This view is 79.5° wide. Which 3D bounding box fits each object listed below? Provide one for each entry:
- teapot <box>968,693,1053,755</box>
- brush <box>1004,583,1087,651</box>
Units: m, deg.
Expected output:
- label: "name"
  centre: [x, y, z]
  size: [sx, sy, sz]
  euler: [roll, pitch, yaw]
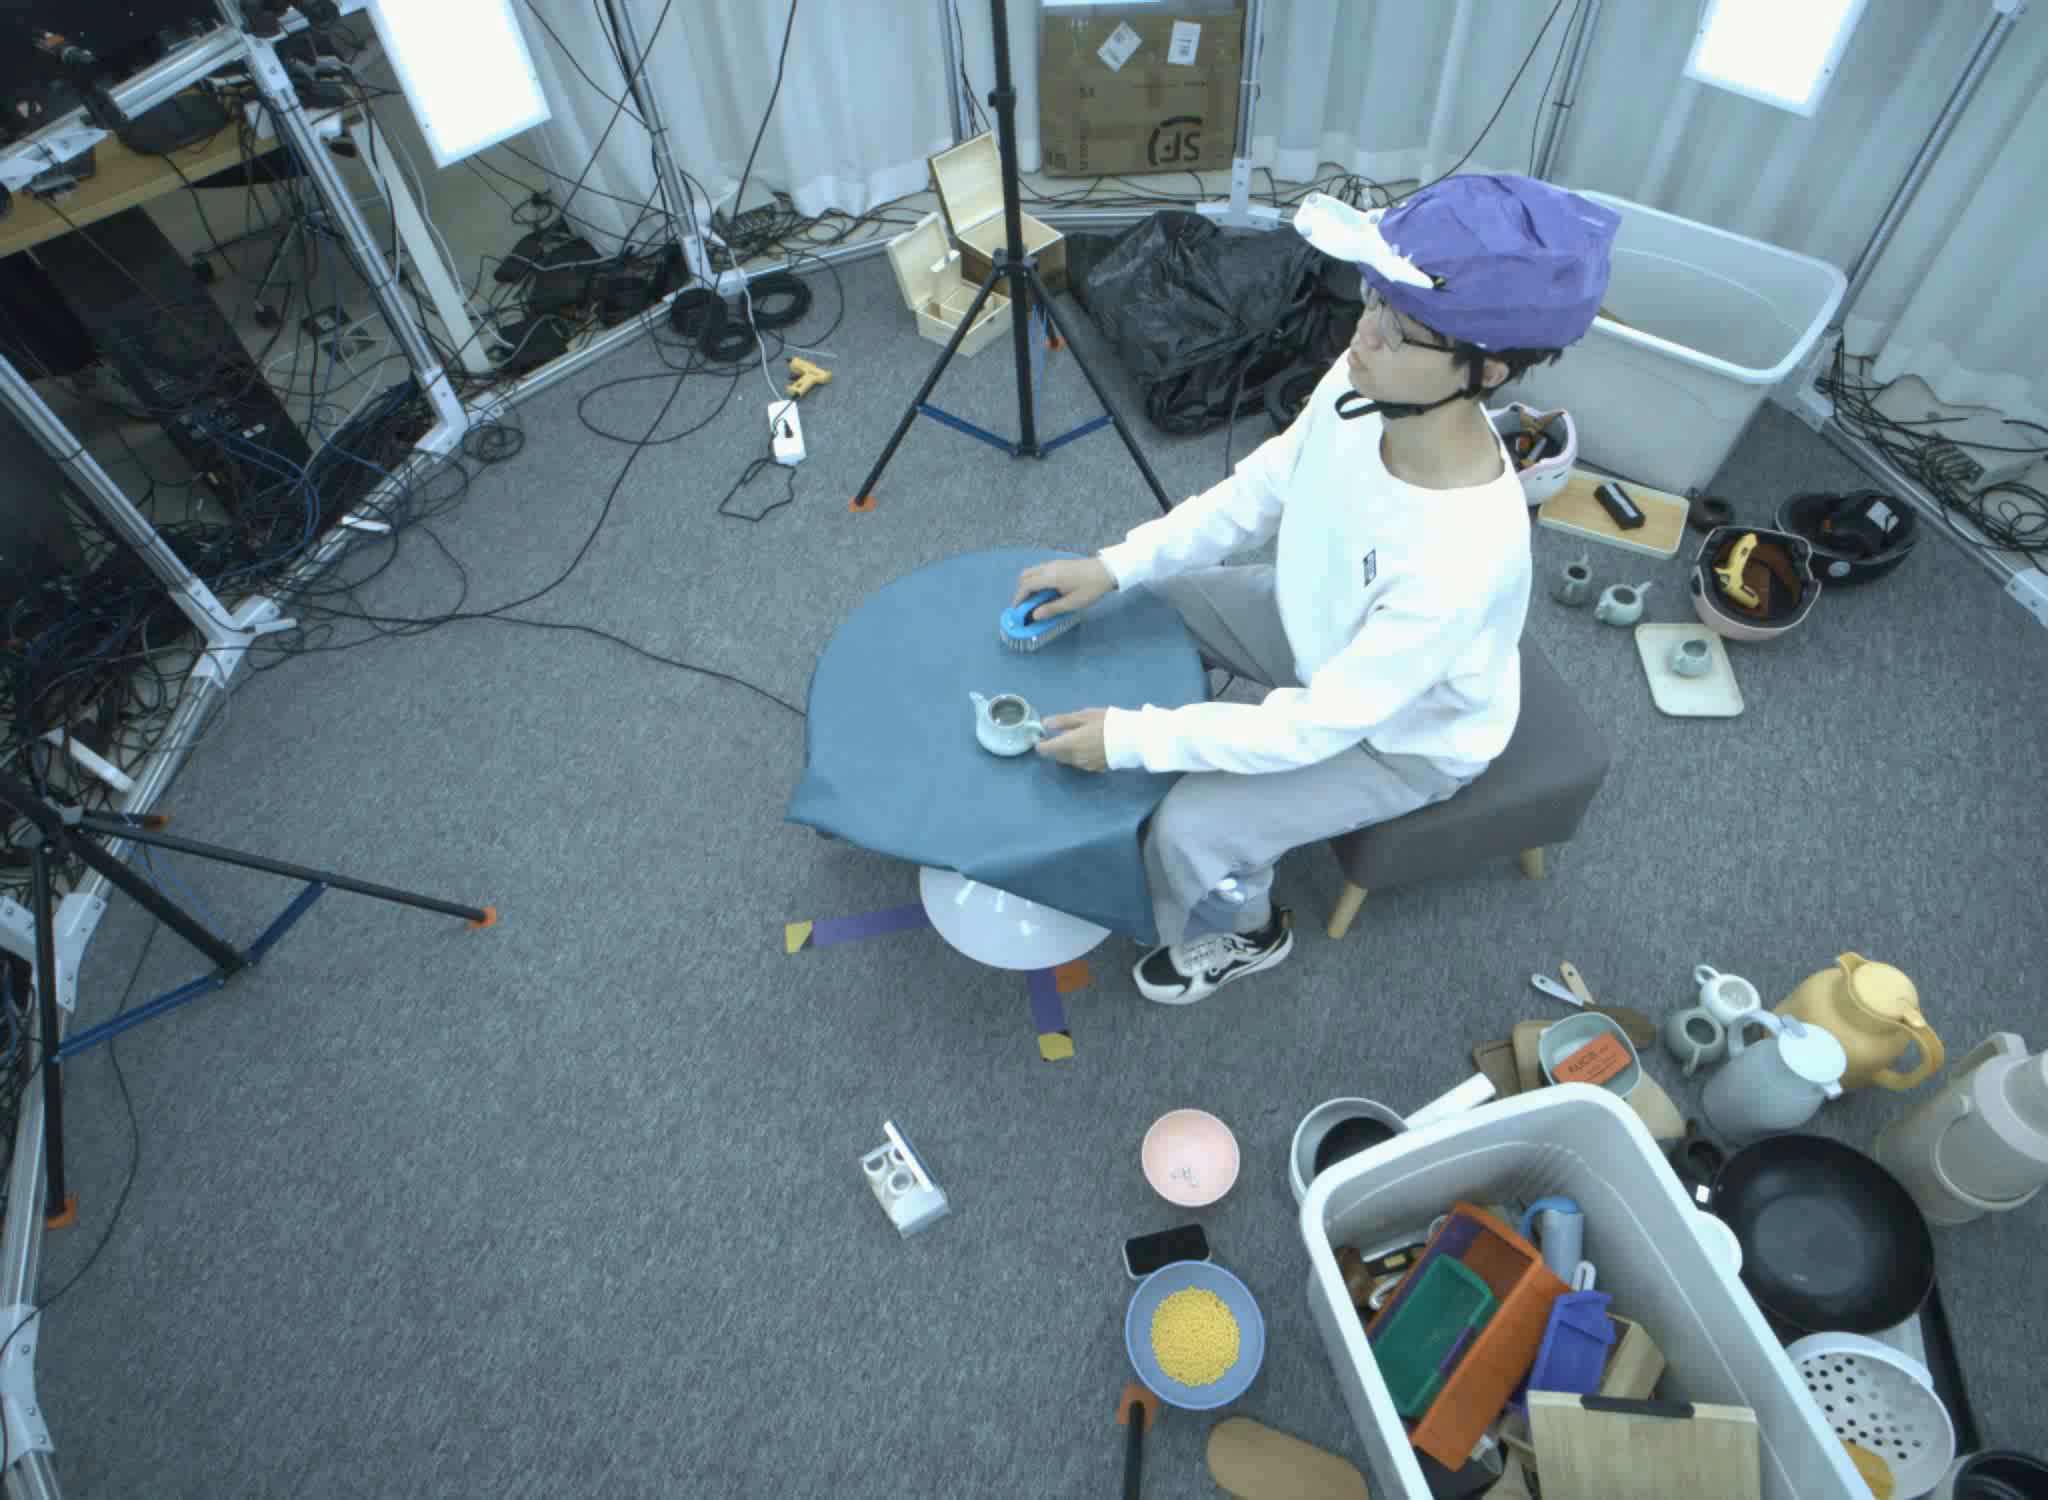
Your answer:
- label: "teapot"
  centre: [-0.019, -0.039, 1.777]
  size: [0.135, 0.062, 0.096]
  euler: [23, 56, 18]
- label: "brush"
  centre: [0.030, -0.217, 1.899]
  size: [0.143, 0.064, 0.082]
  euler: [-35, 55, -22]
